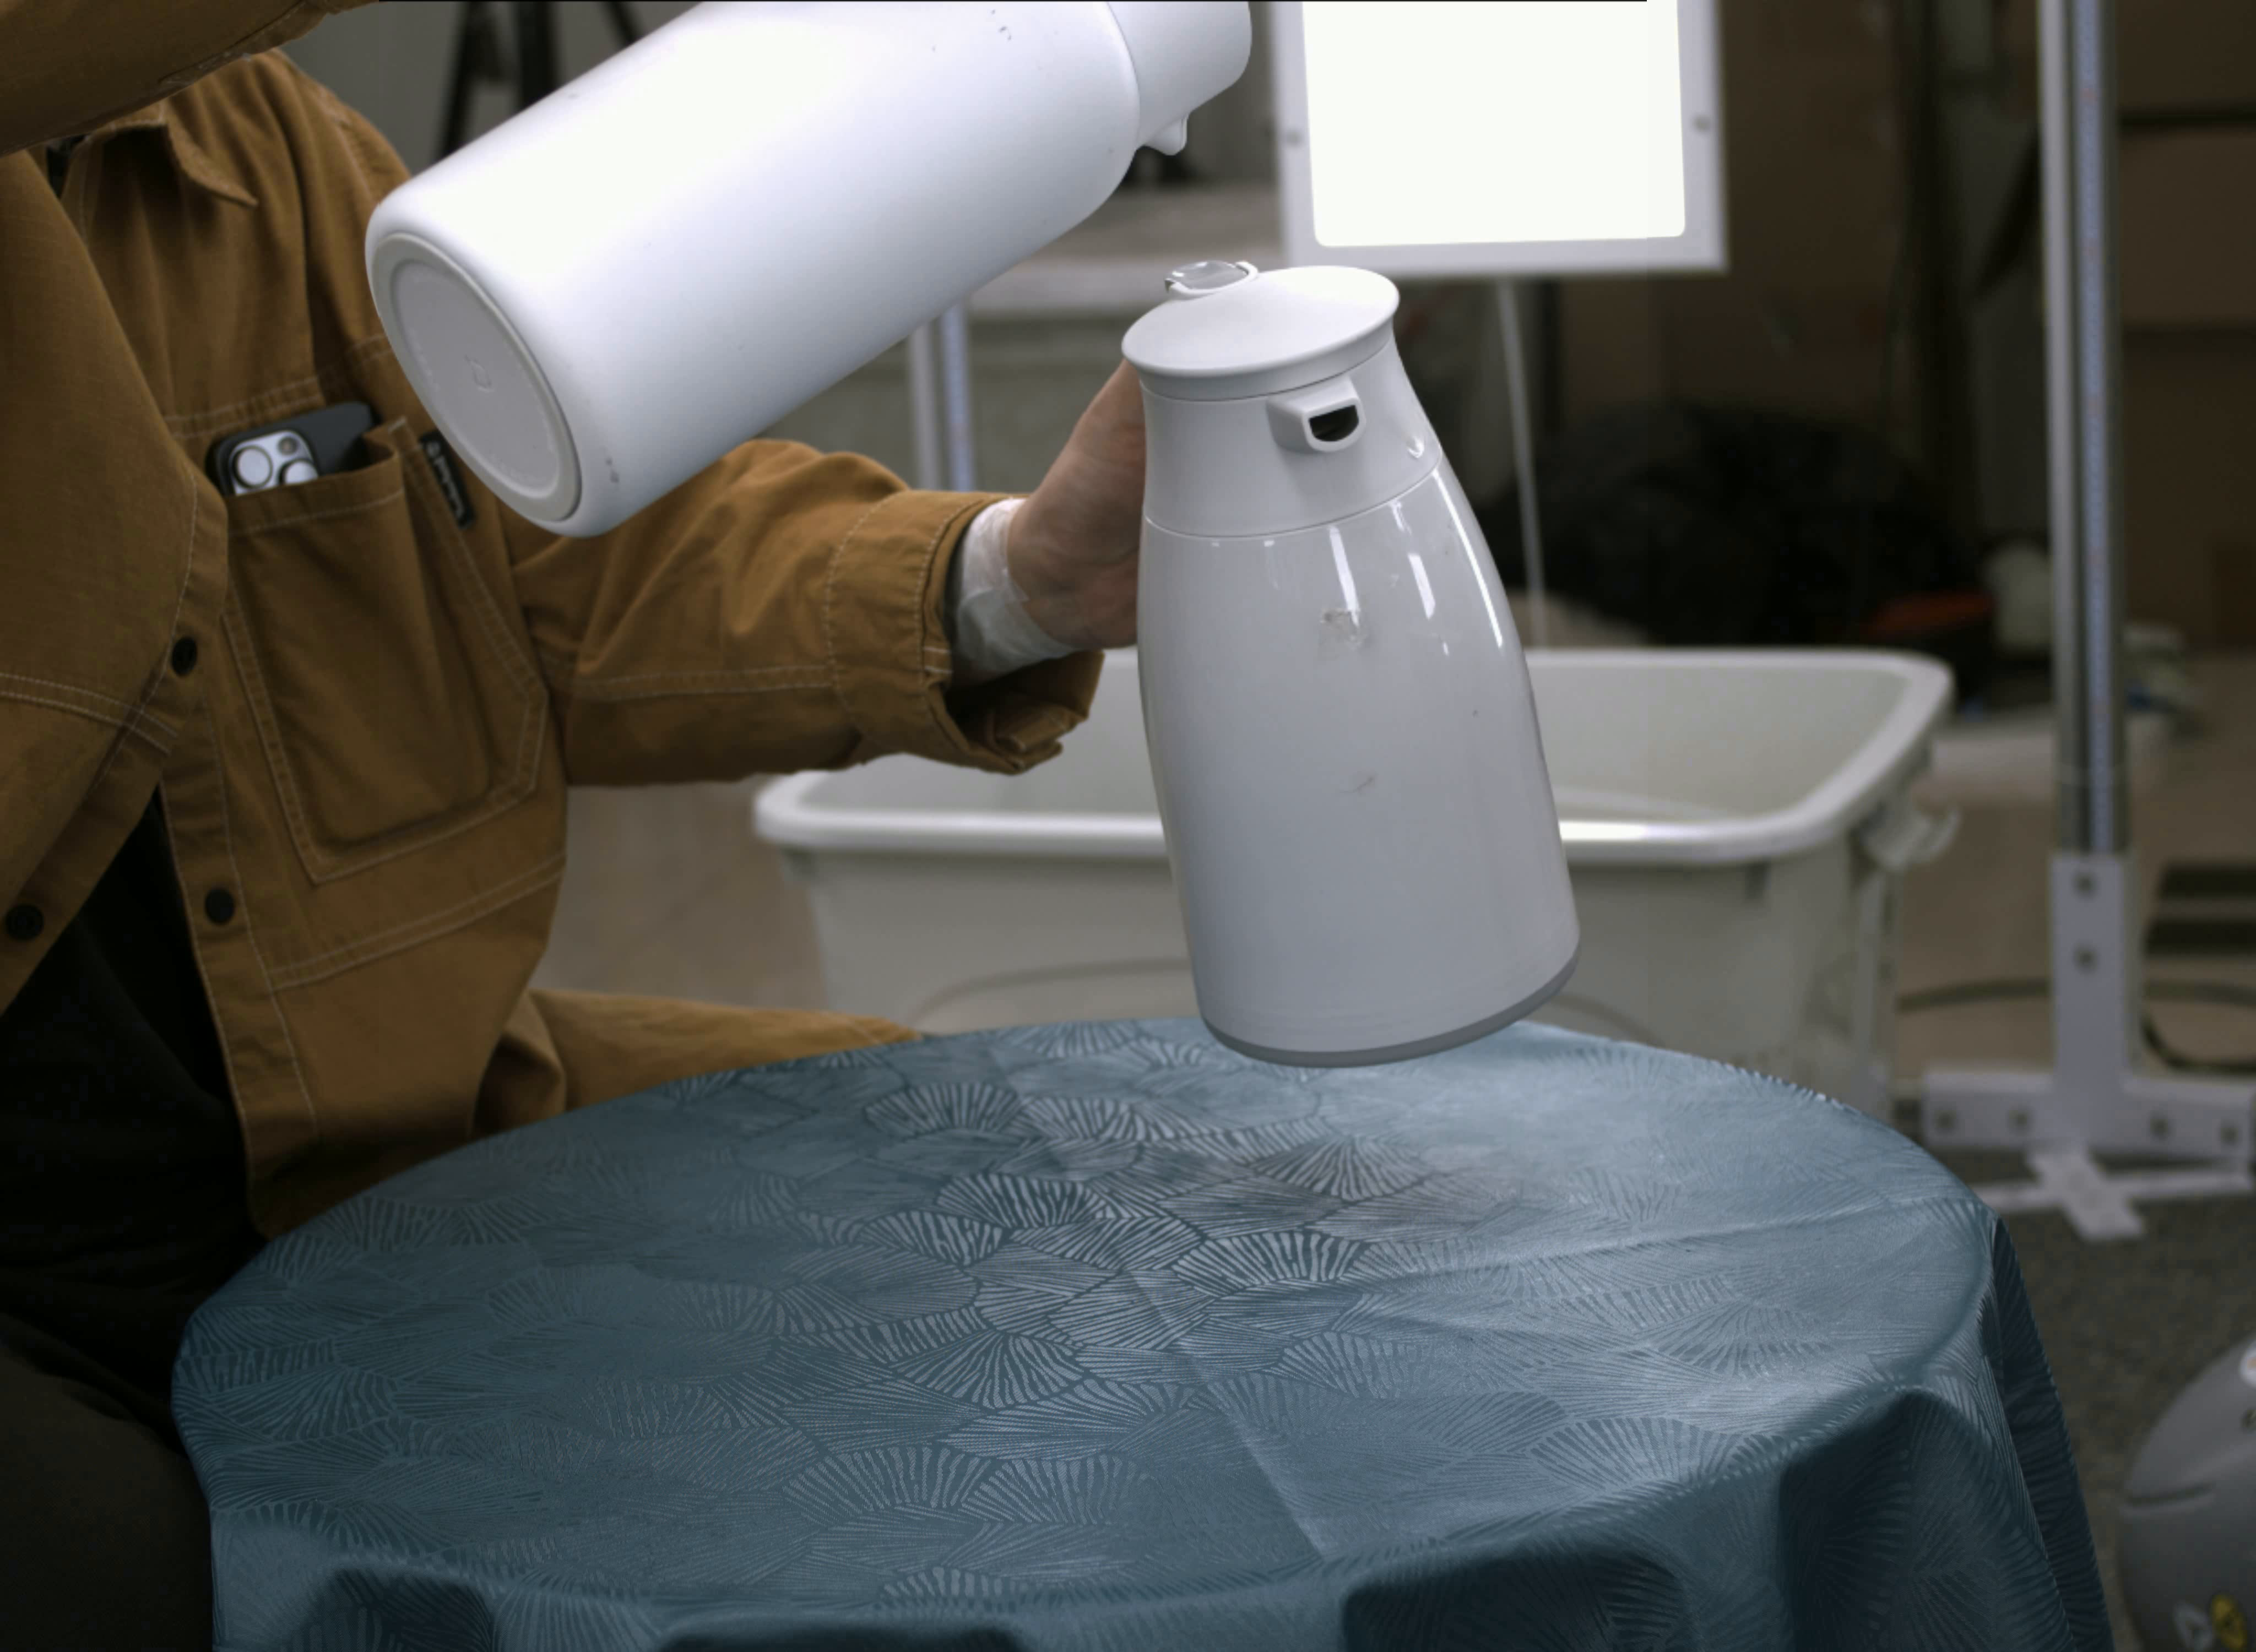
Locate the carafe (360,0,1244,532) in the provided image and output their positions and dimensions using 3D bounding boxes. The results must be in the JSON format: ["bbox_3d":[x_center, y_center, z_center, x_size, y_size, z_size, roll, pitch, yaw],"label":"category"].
[{"bbox_3d":[-0.097,-0.215,1.644,0.265,0.172,0.126,-34,41,-20],"label":"carafe"}]

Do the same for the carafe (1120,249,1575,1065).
[{"bbox_3d":[0.057,-0.066,1.827,0.131,0.249,0.169,-18,23,-12],"label":"carafe"}]
